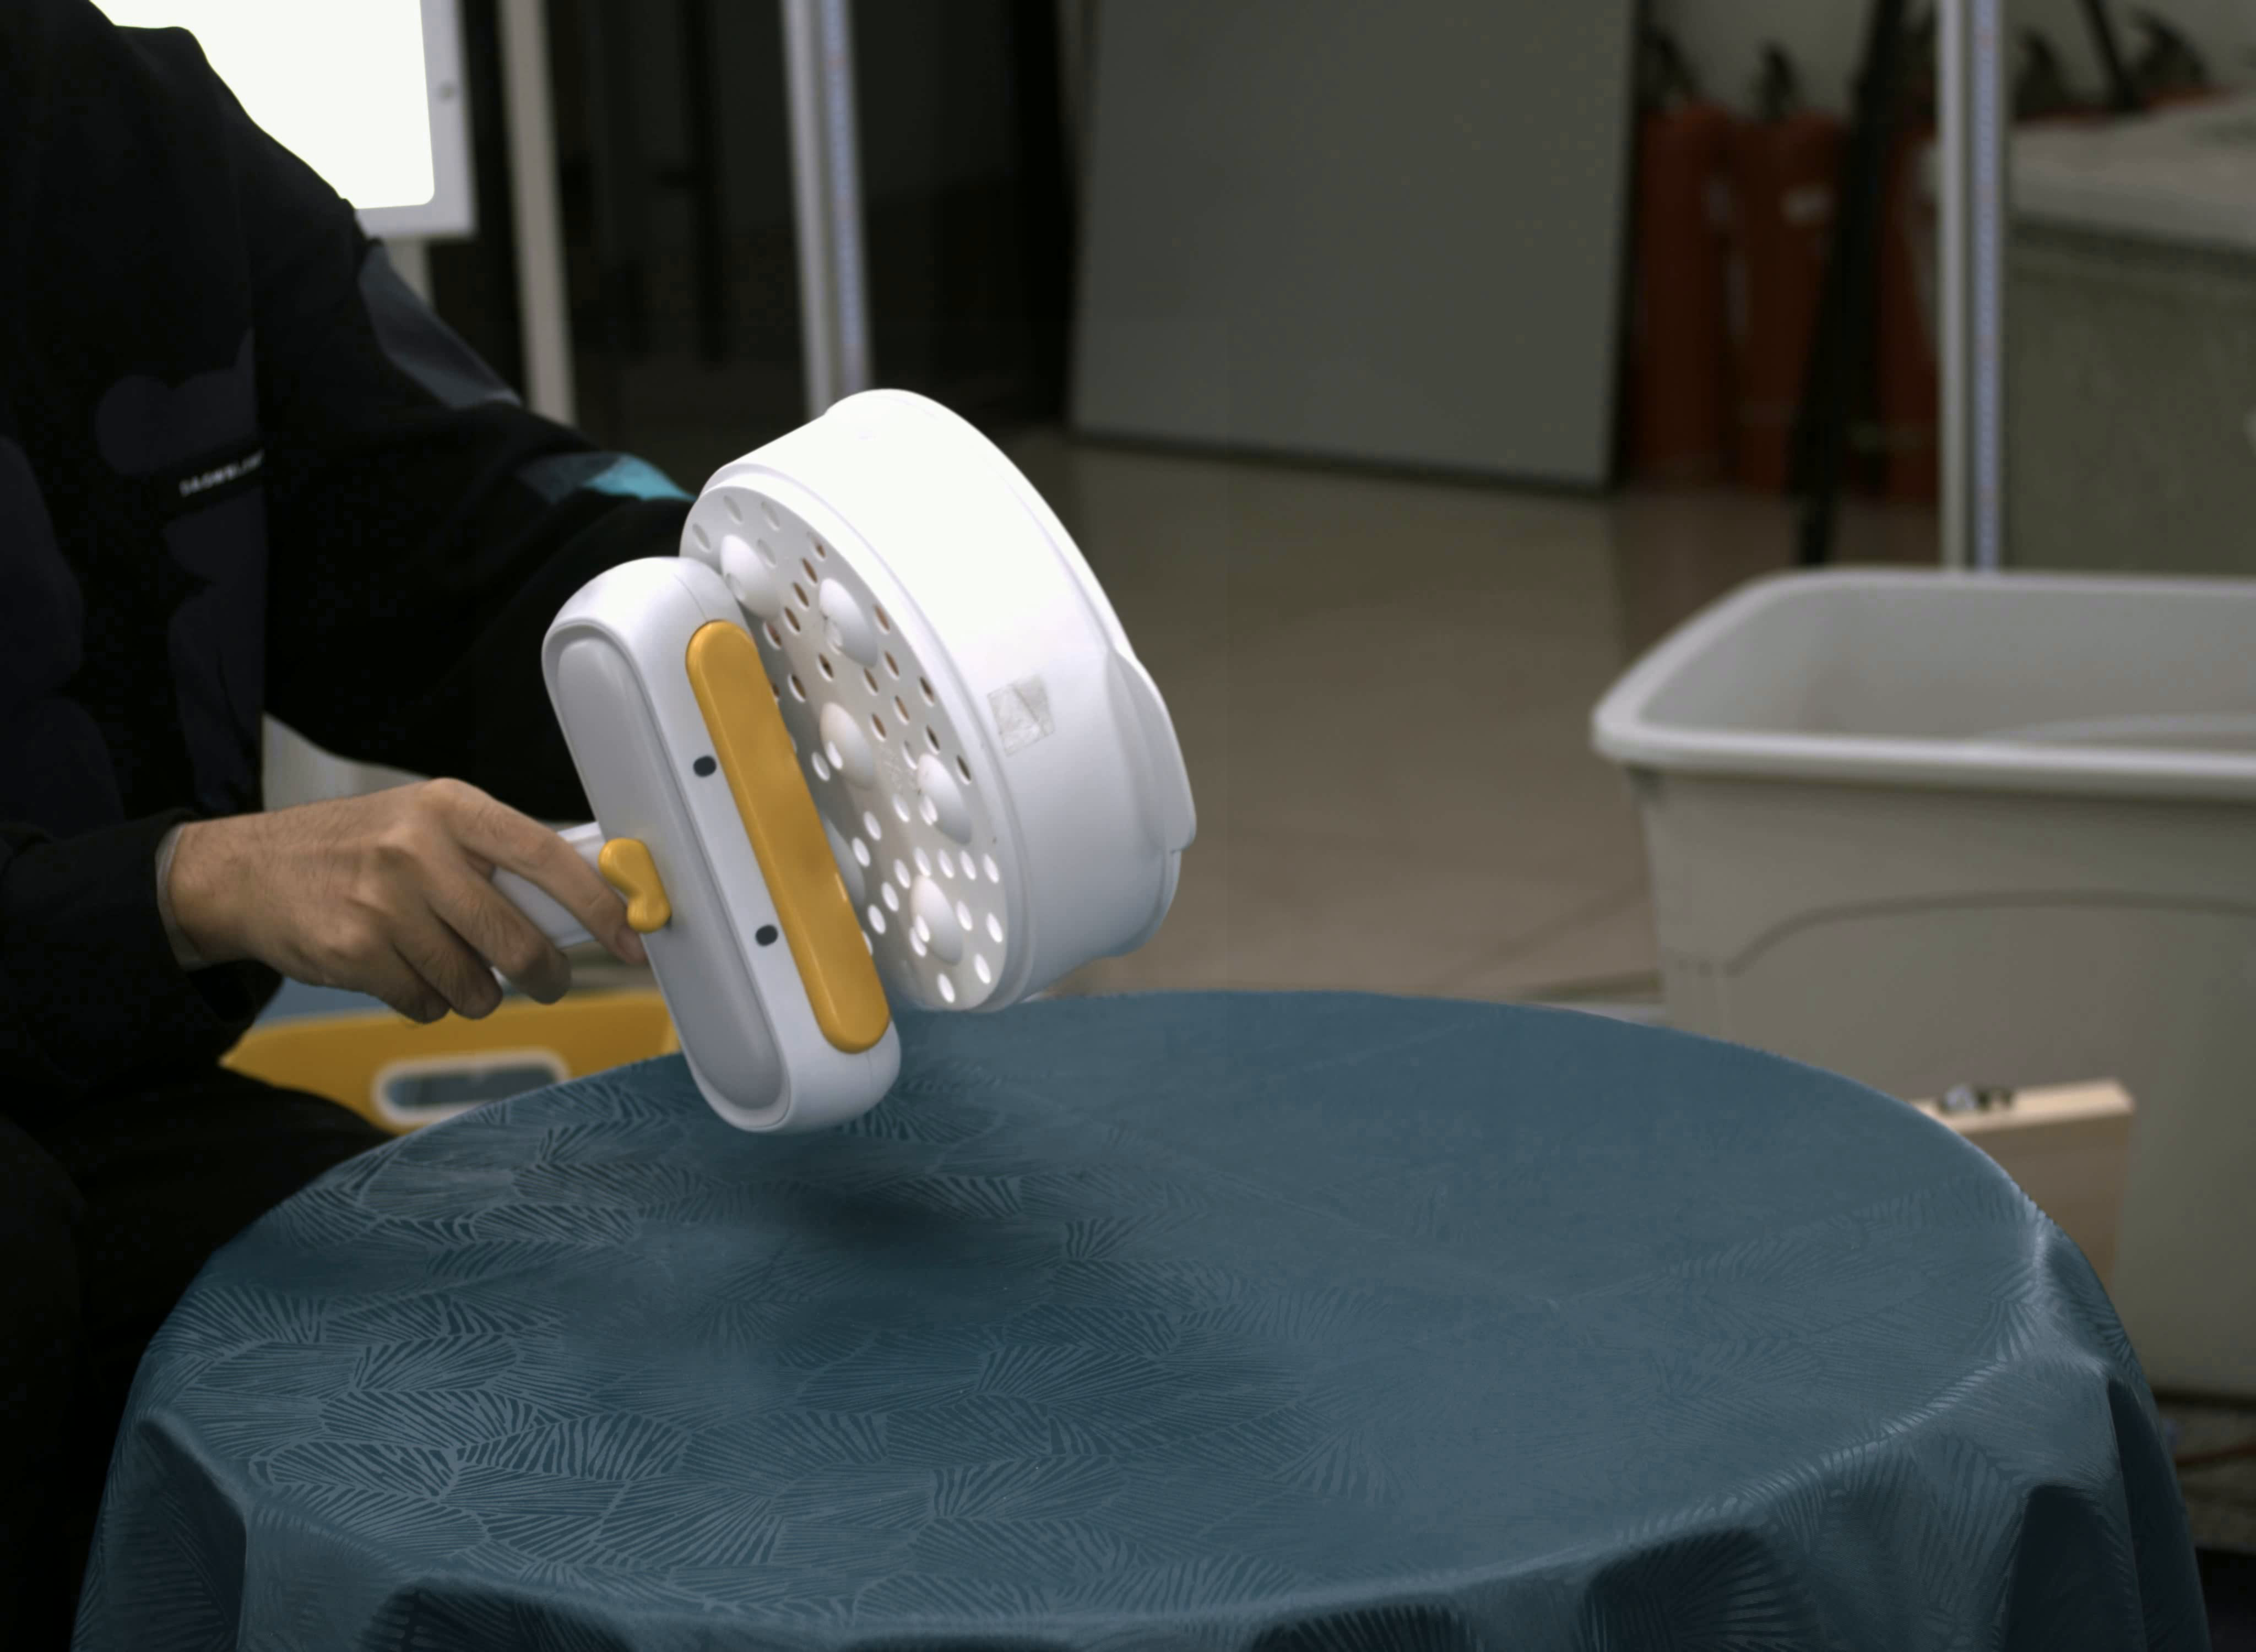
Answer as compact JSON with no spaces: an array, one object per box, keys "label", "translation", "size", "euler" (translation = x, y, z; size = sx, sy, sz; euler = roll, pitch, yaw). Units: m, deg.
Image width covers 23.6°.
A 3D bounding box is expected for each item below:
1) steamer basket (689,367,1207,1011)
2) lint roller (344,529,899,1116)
[{"label":"steamer basket","translation":[-0.064,-0.039,1.702],"size":[0.068,0.203,0.233],"euler":[-27,28,-24]},{"label":"lint roller","translation":[-0.176,0.016,1.754],"size":[0.194,0.194,0.073],"euler":[-18,11,44]}]
